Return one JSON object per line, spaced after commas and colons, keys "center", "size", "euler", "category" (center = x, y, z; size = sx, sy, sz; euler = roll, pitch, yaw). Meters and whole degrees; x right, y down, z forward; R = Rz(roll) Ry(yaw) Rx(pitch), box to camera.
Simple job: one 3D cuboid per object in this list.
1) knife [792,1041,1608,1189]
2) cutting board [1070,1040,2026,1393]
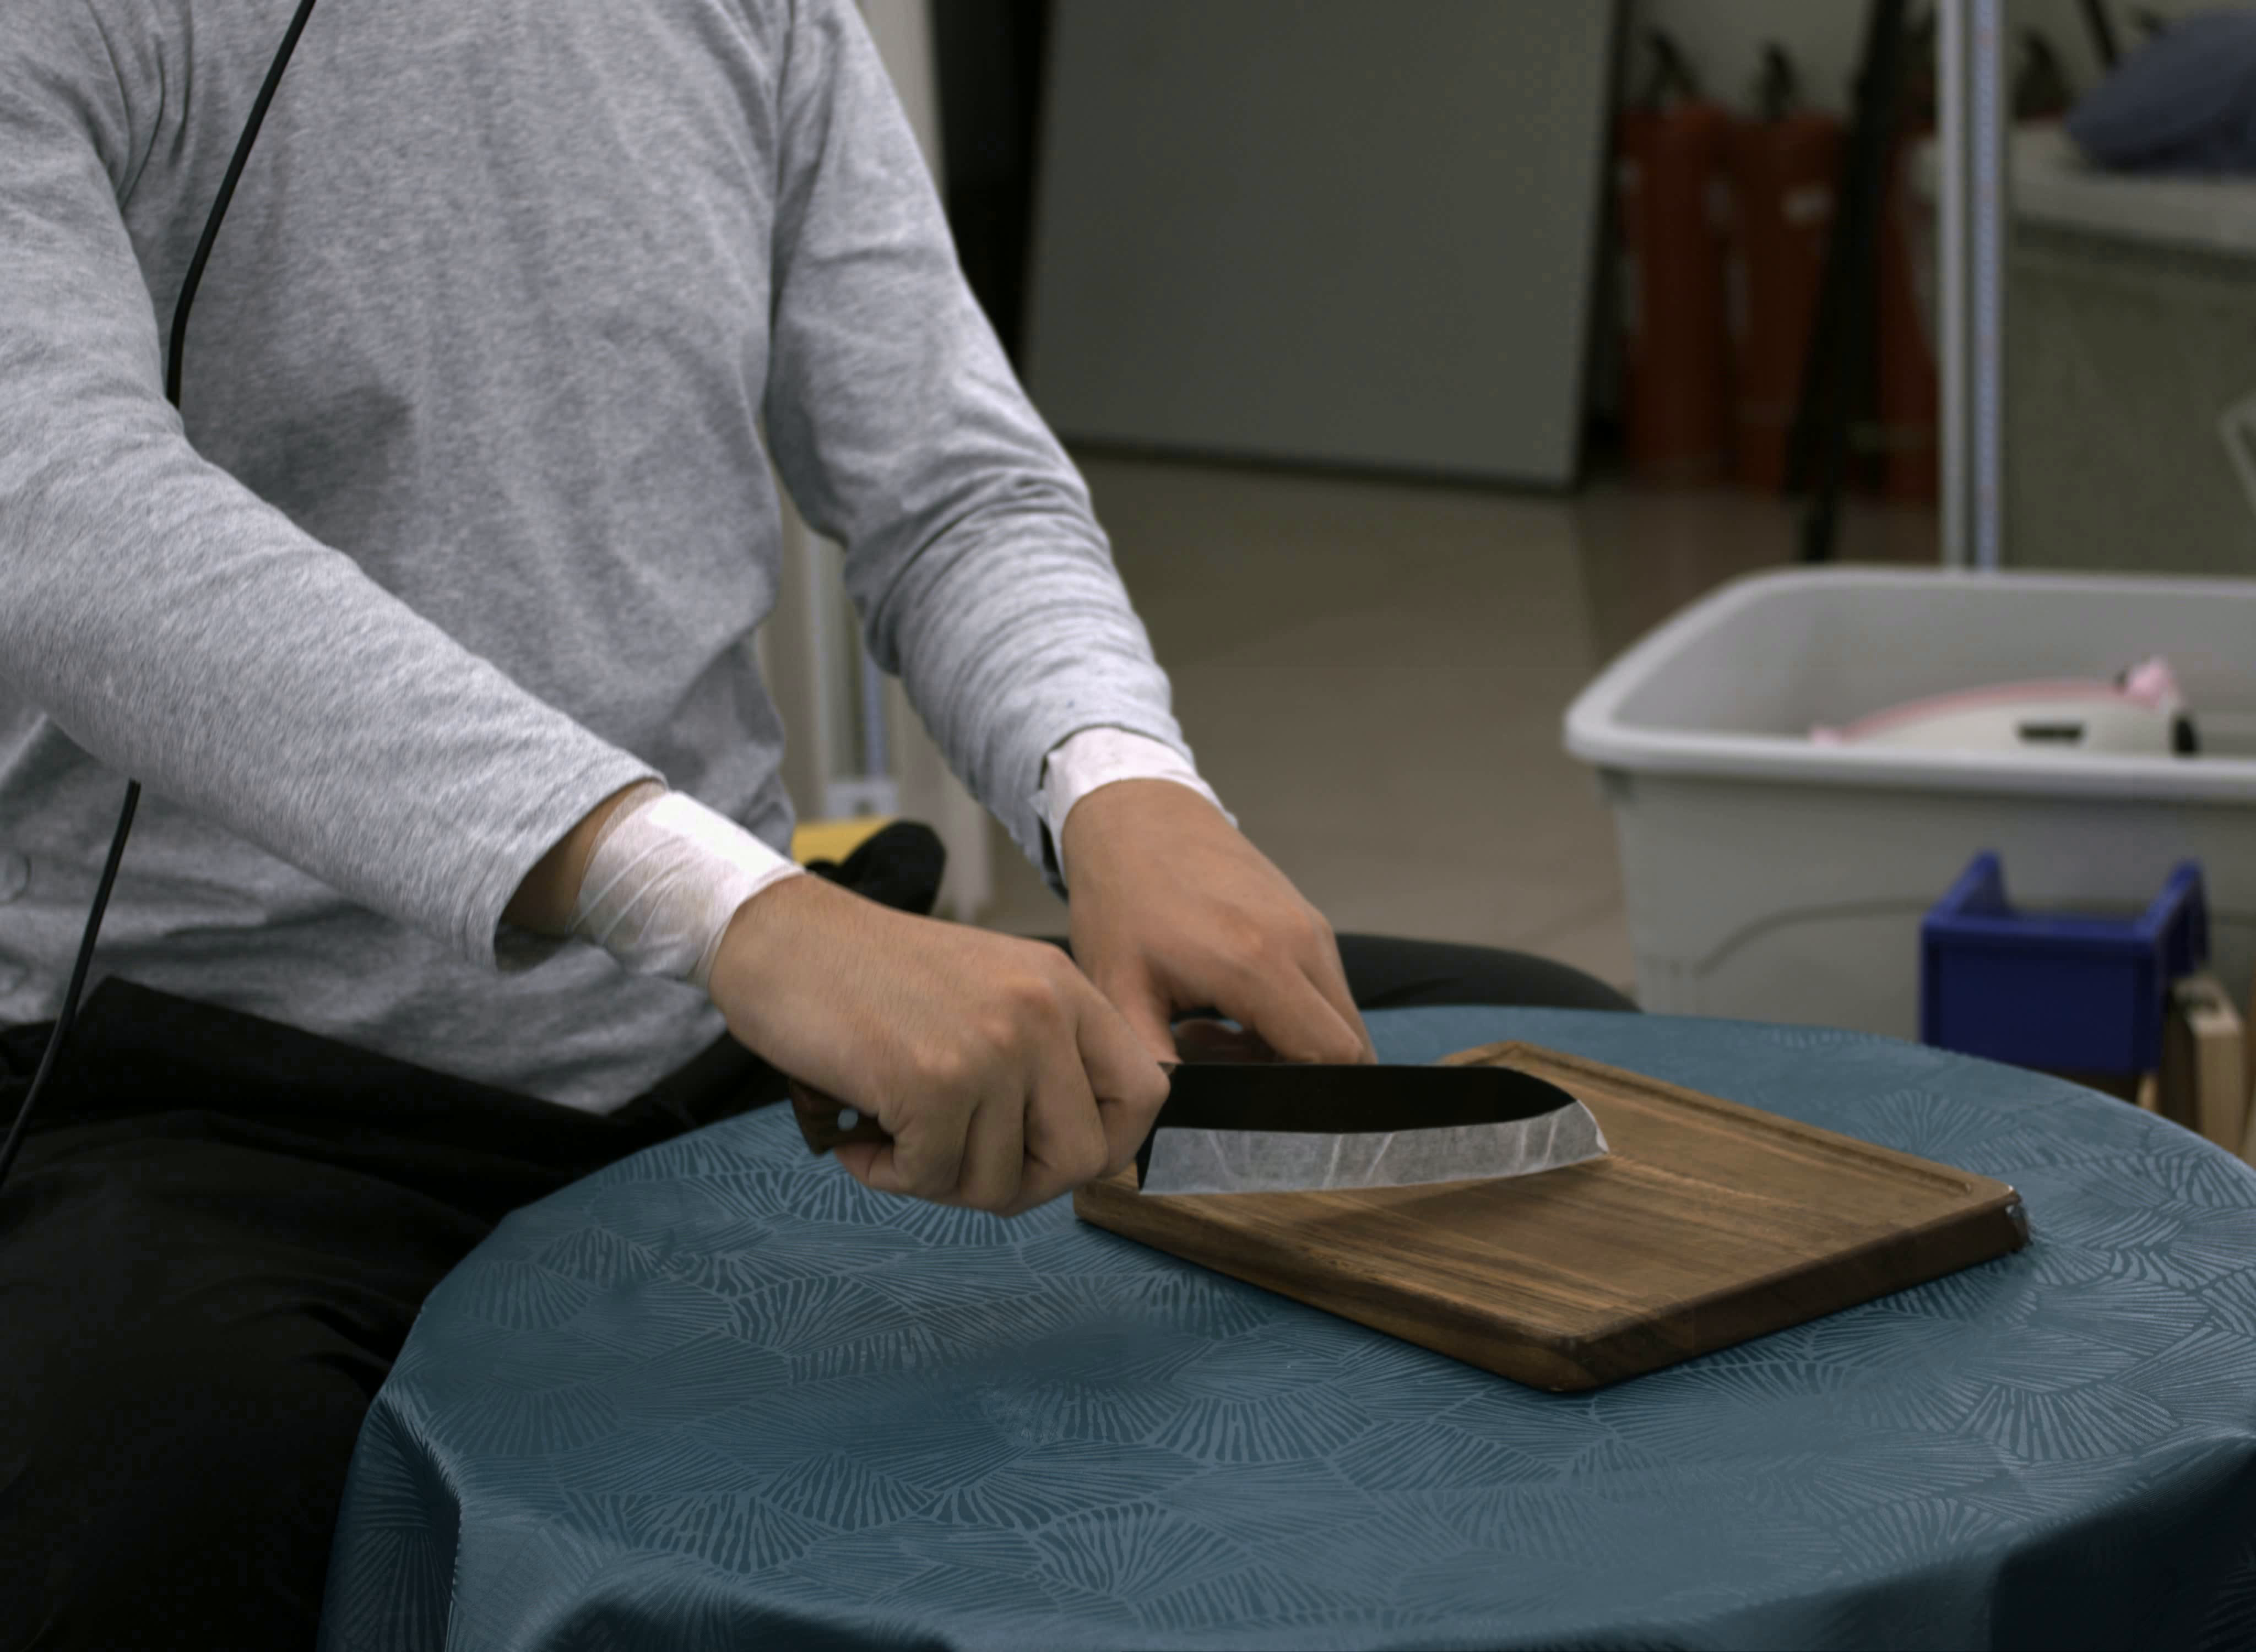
{"center": [0.028, 0.089, 1.661], "size": [0.282, 0.051, 0.020], "euler": [5, 18, -26], "category": "knife"}
{"center": [0.100, 0.112, 1.742], "size": [0.196, 0.023, 0.356], "euler": [-13, 16, -34], "category": "cutting board"}
